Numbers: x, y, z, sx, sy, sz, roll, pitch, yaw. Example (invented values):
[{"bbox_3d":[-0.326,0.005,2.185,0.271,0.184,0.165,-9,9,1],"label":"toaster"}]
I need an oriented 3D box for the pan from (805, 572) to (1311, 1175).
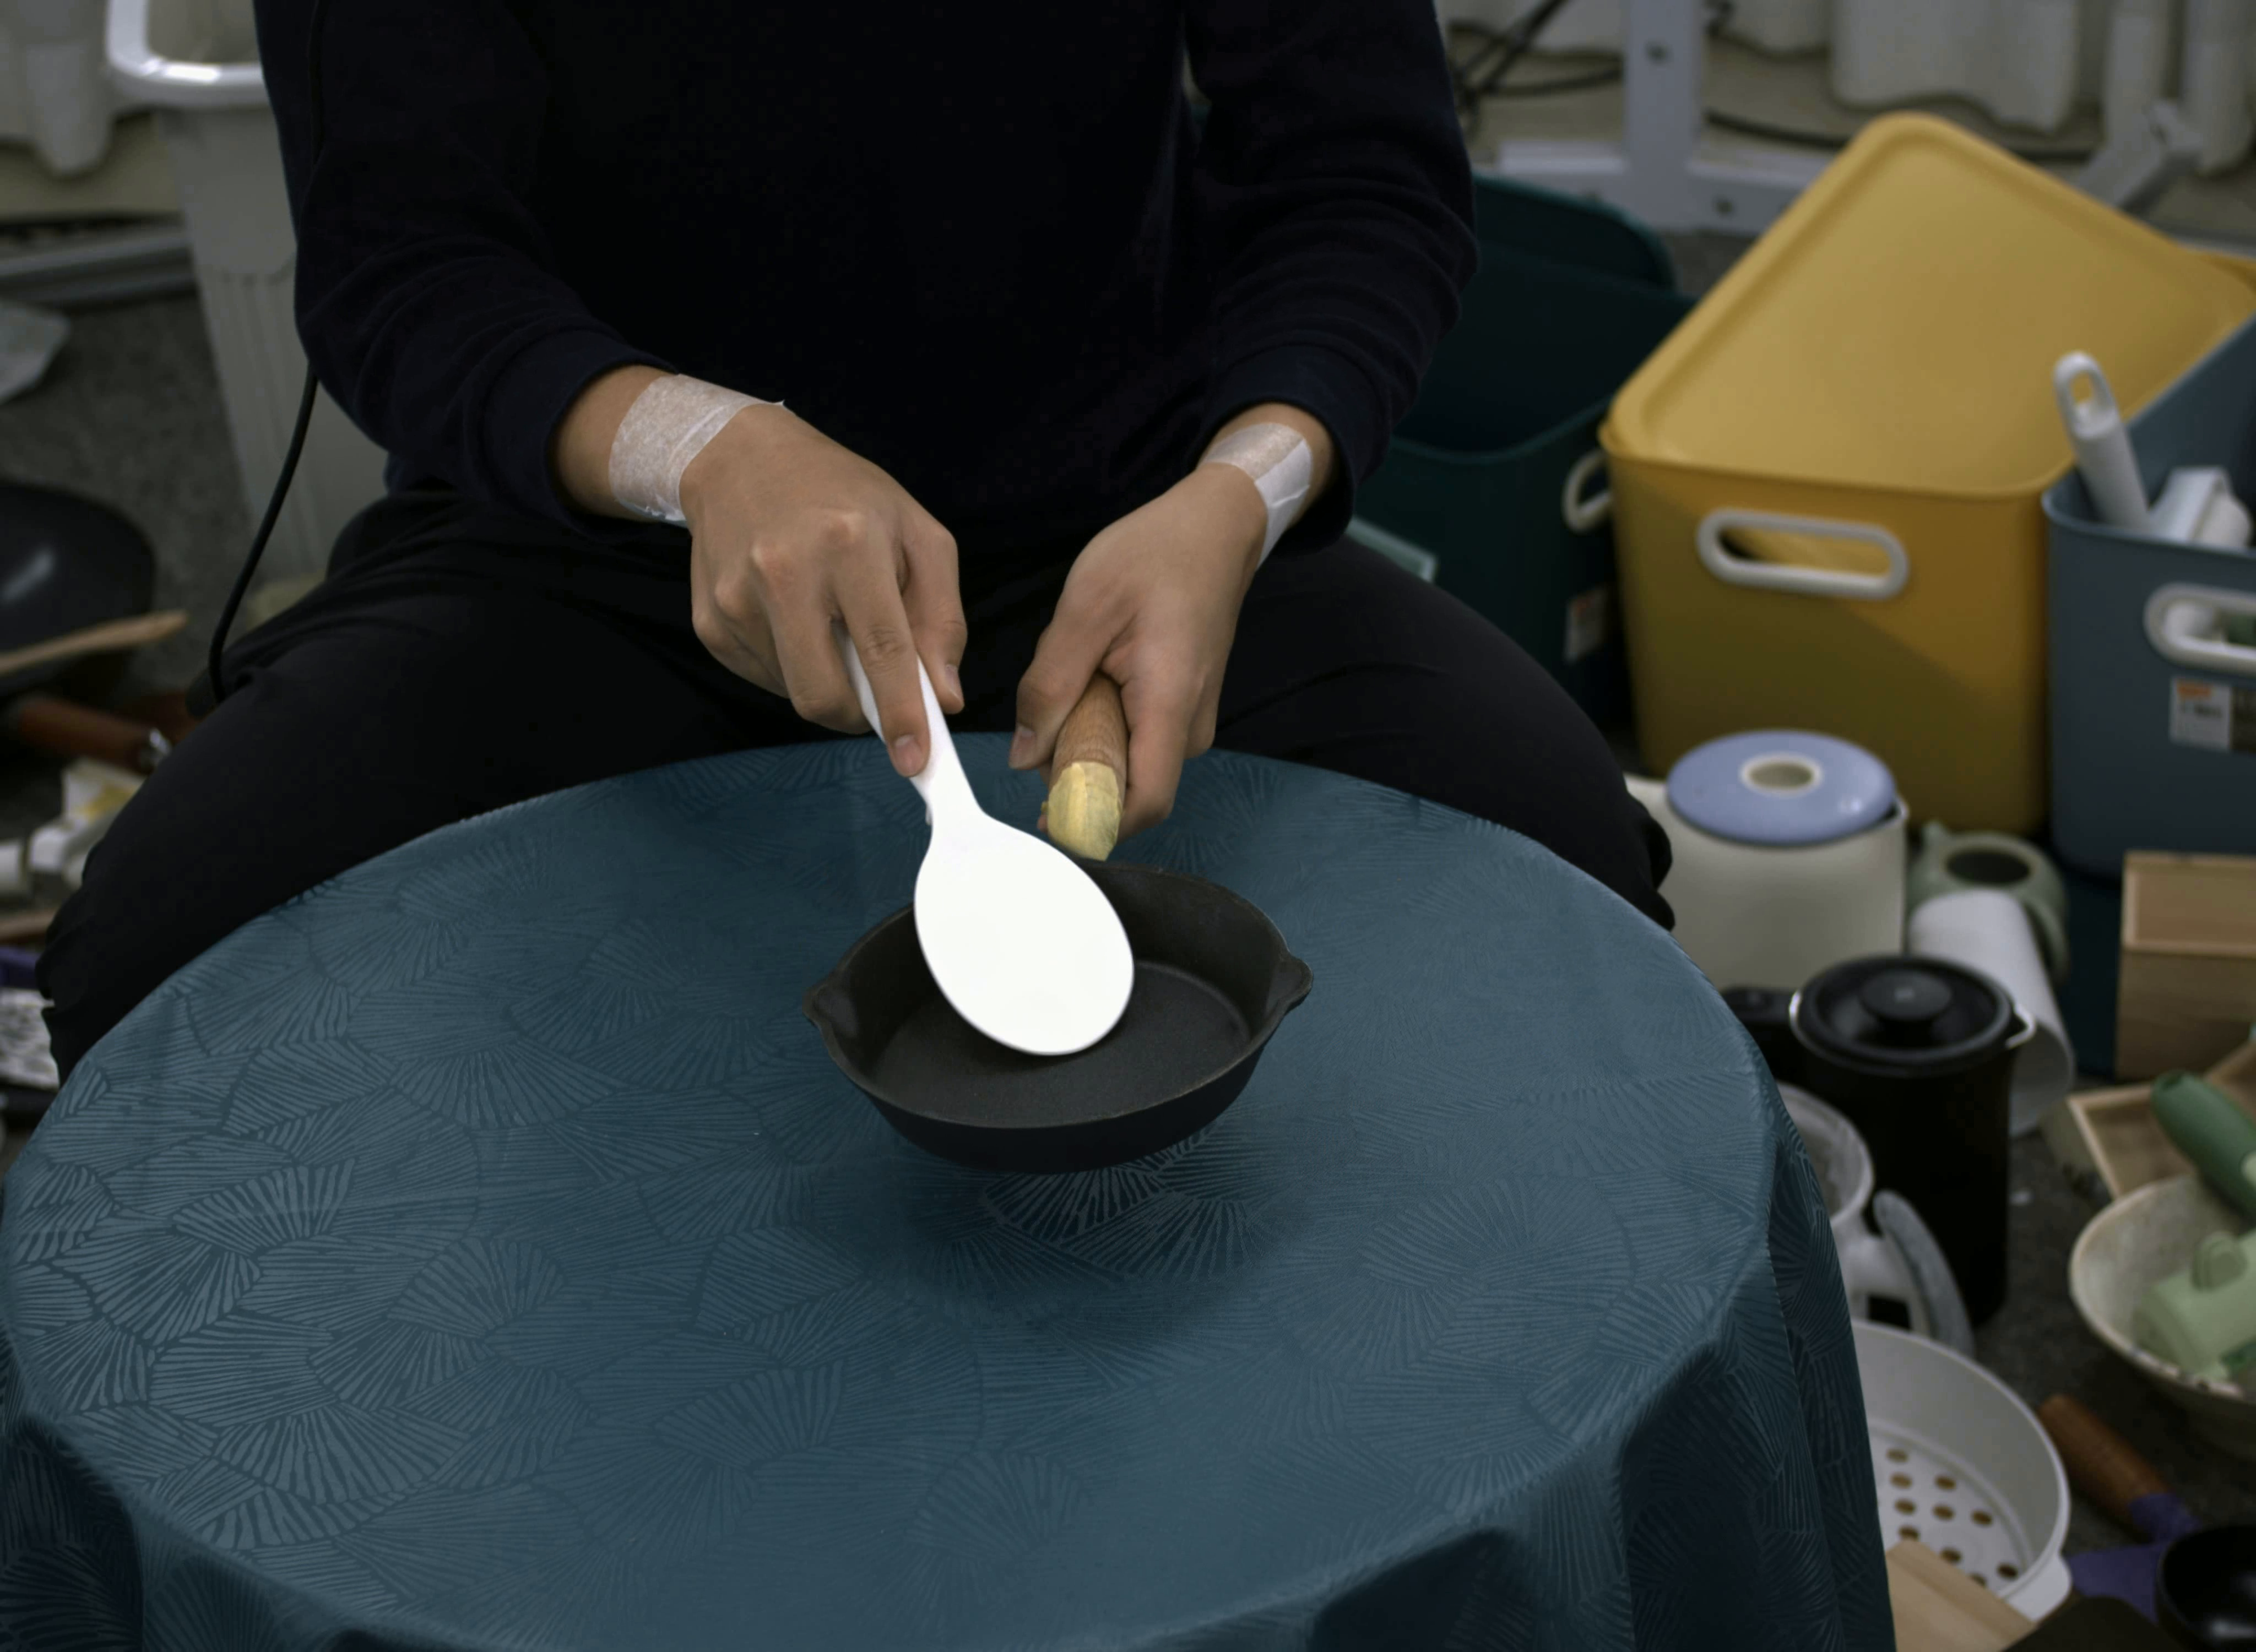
[{"bbox_3d":[-0.015,0.014,1.926,0.168,0.049,0.330,-1,33,7],"label":"pan"}]

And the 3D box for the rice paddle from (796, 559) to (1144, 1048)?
[{"bbox_3d":[-0.057,-0.007,1.916,0.069,0.029,0.208,-17,58,-21],"label":"rice paddle"}]
